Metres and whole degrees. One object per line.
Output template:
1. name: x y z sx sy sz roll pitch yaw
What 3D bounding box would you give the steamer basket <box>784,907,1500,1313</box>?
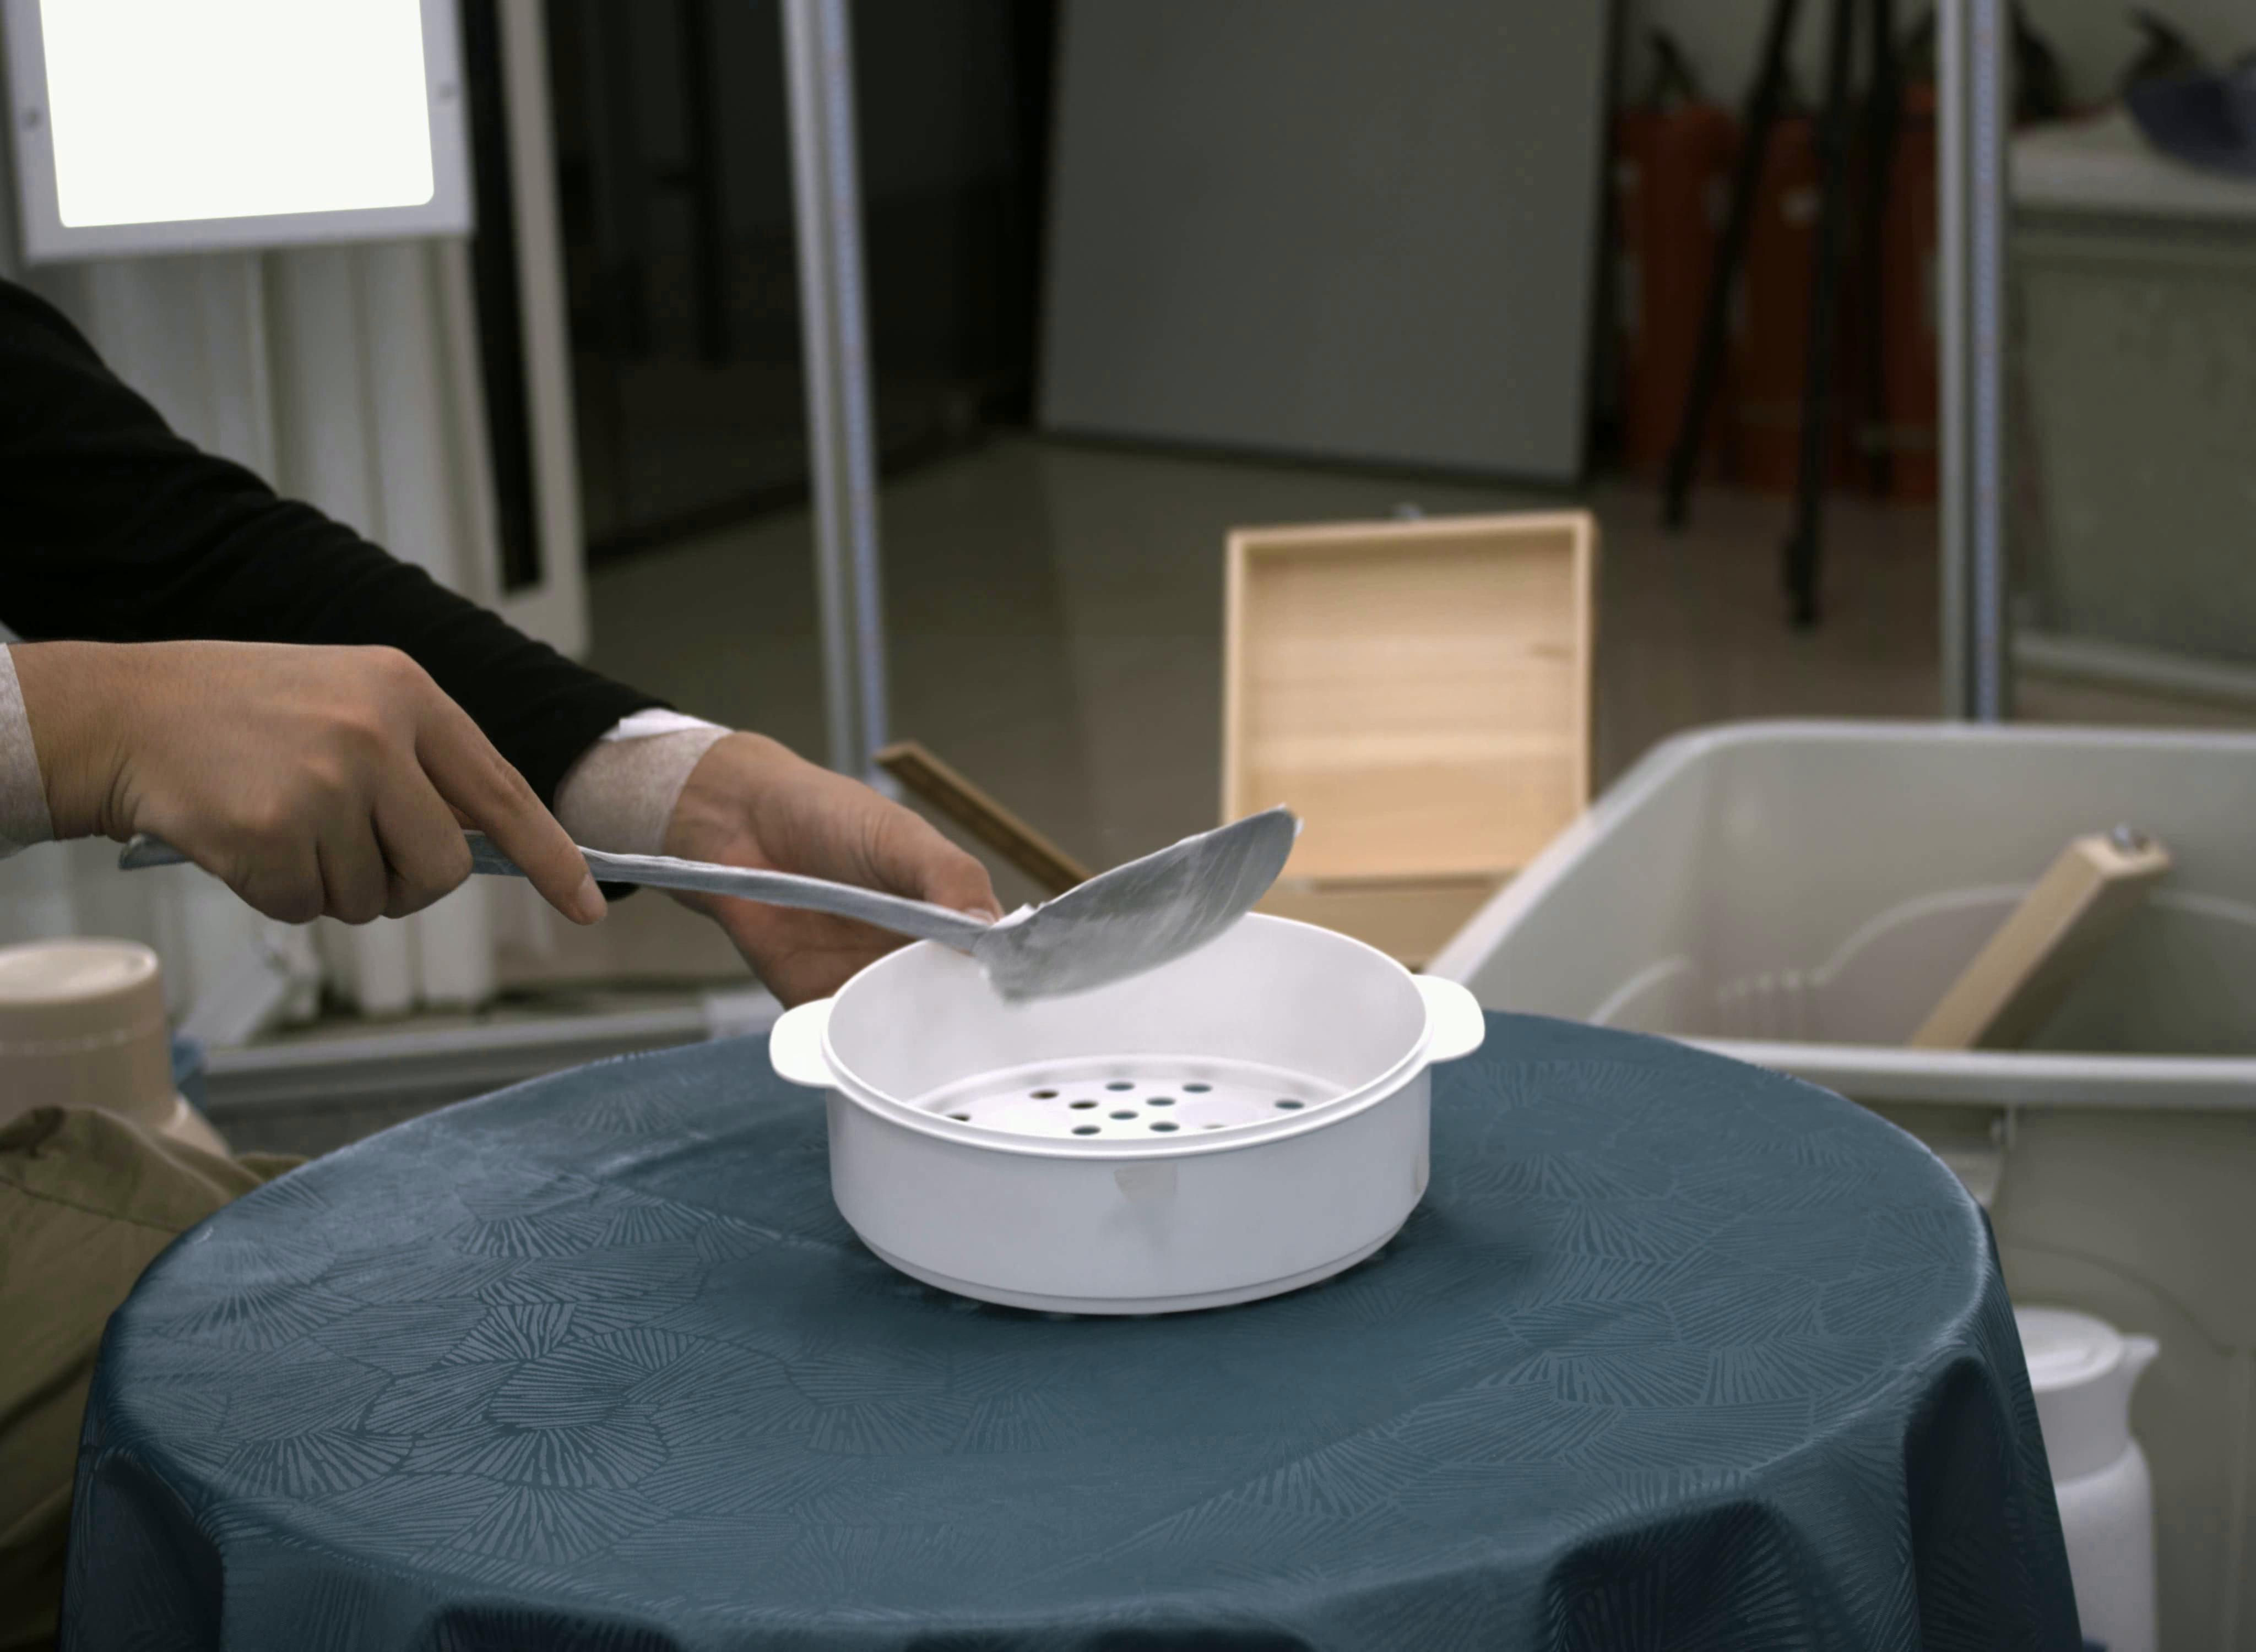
1. steamer basket: 0.006 0.089 1.721 0.227 0.070 0.202 -3 19 0

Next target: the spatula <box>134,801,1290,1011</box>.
1. spatula: -0.121 0.015 1.643 0.357 0.045 0.099 7 -35 -19
